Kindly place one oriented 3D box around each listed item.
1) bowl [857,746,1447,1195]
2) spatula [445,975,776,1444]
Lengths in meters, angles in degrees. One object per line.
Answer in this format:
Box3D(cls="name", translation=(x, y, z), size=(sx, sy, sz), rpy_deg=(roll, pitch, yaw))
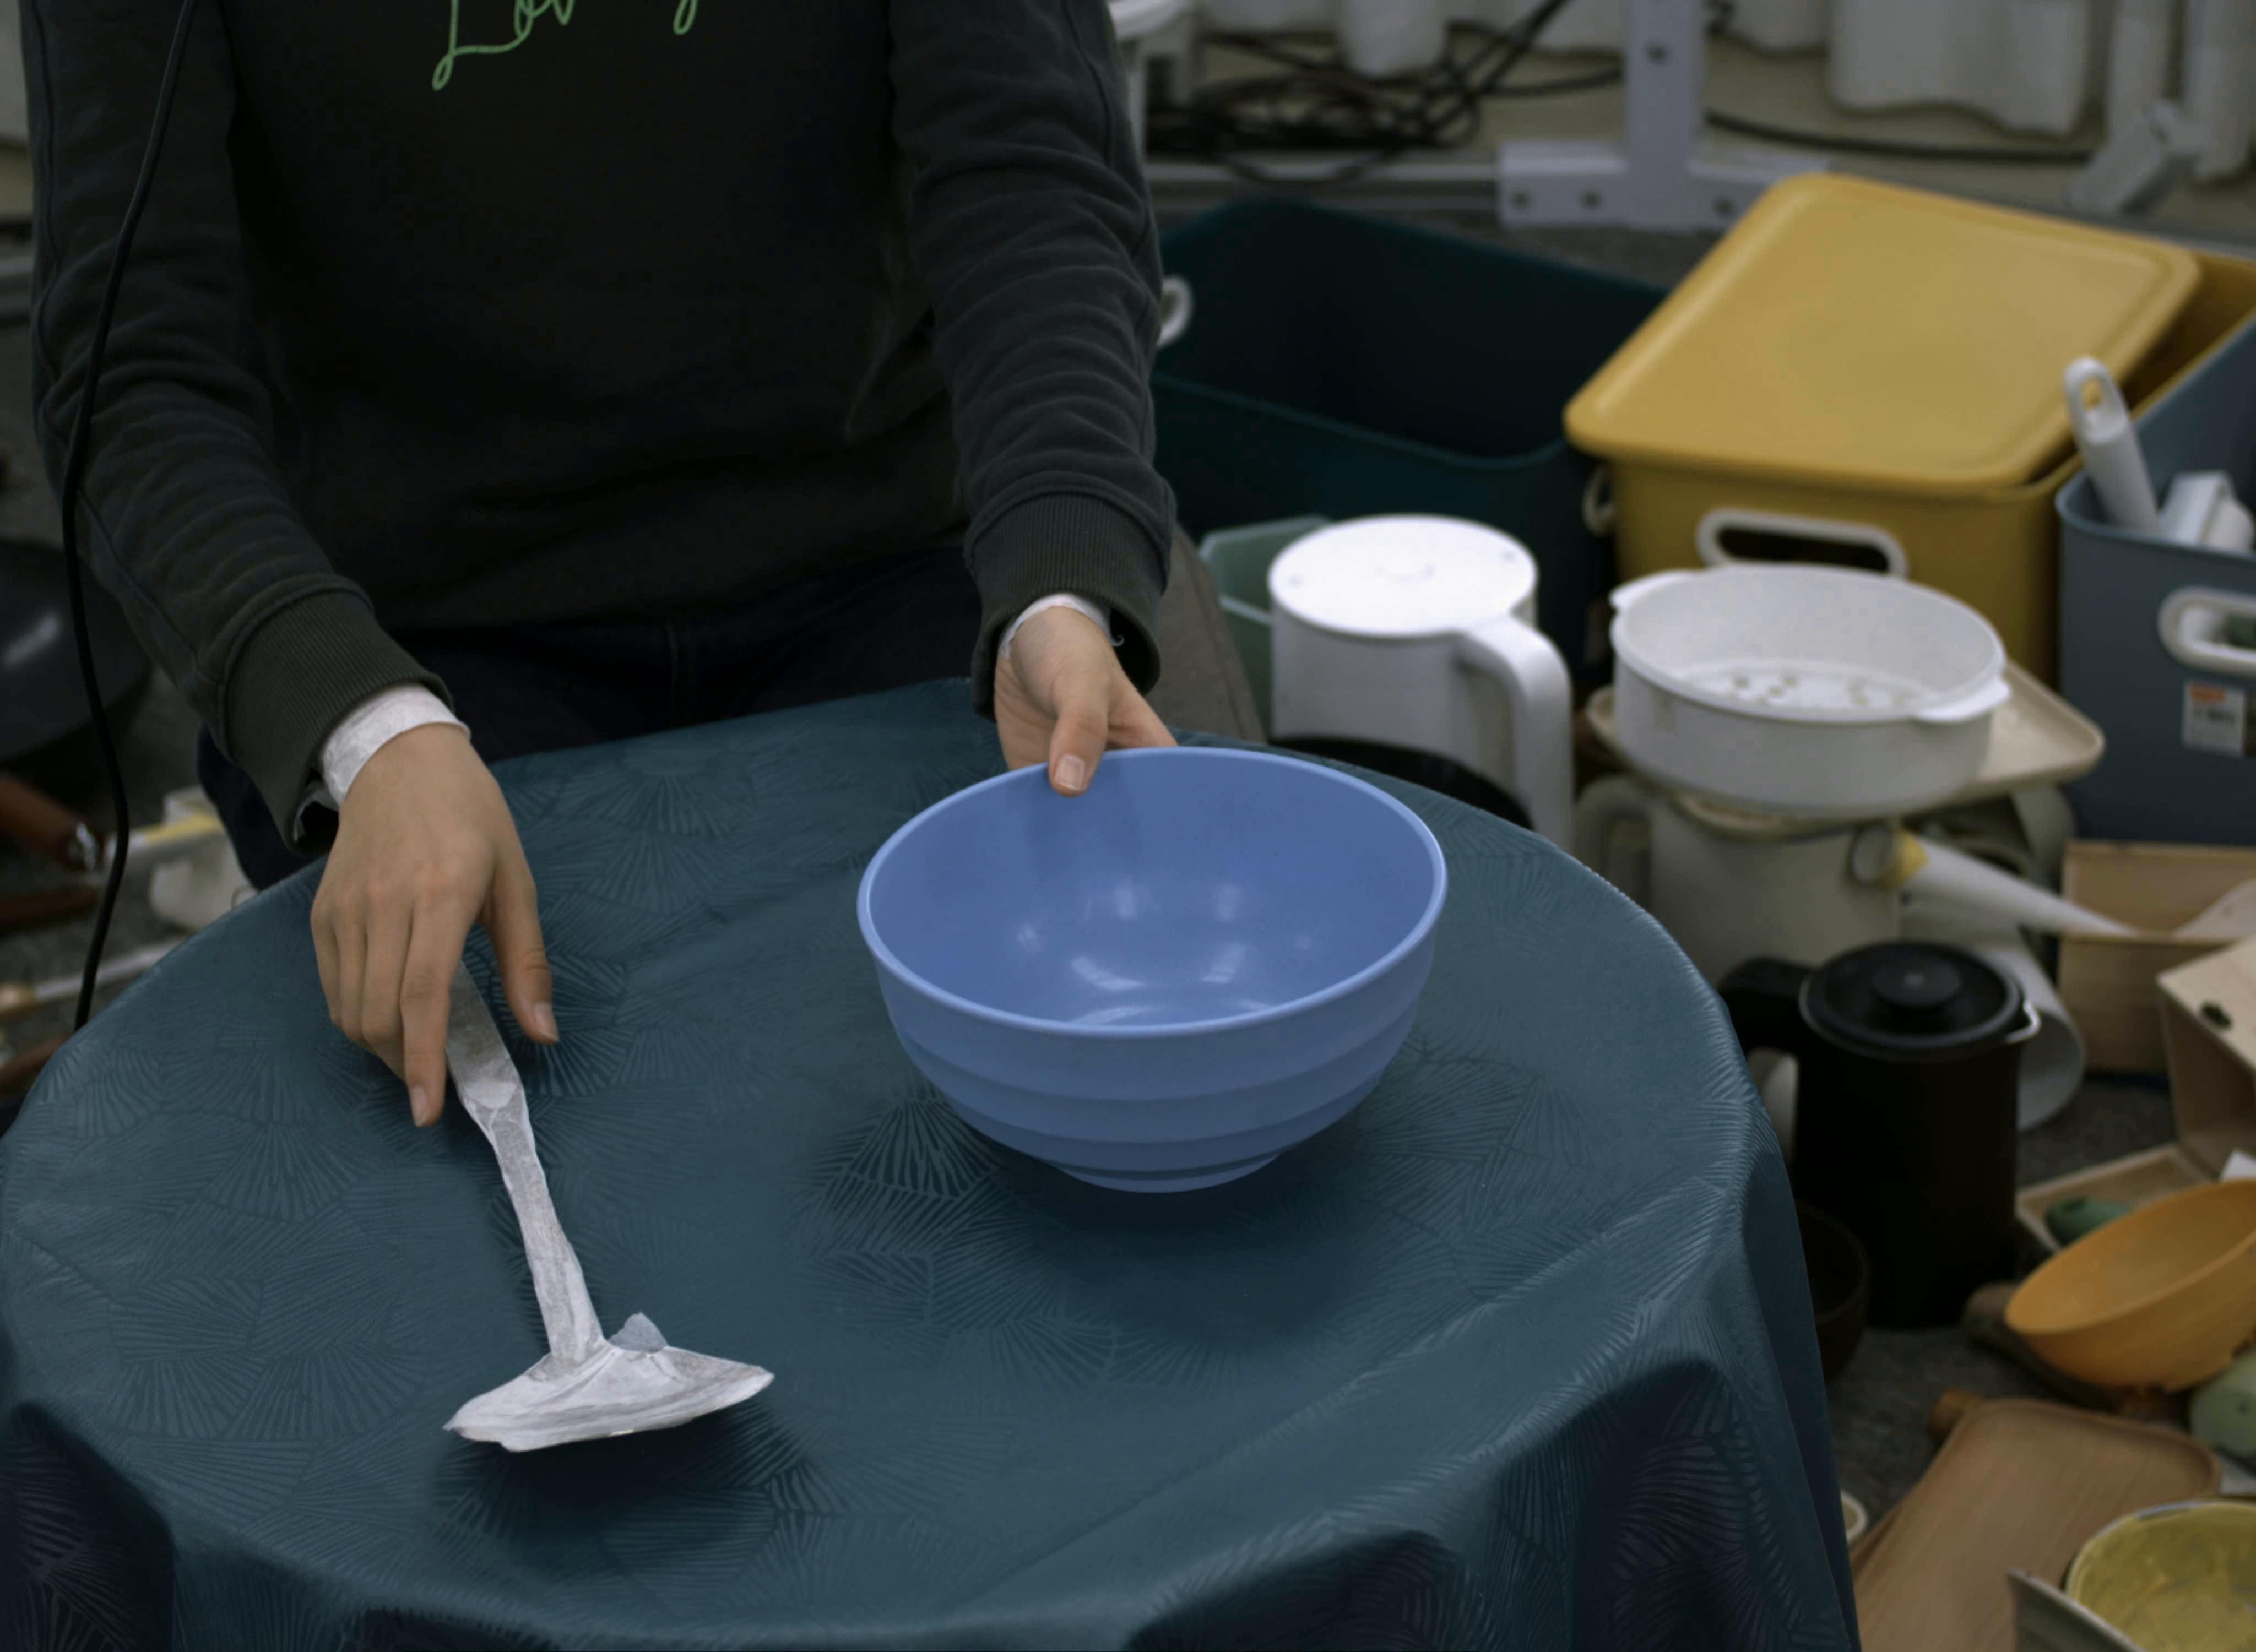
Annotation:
Box3D(cls="bowl", translation=(0.011, 0.059, 1.878), size=(0.195, 0.094, 0.199), rpy_deg=(-3, 28, 2))
Box3D(cls="spatula", translation=(-0.193, 0.118, 1.846), size=(0.098, 0.044, 0.369), rpy_deg=(-11, 28, -11))
